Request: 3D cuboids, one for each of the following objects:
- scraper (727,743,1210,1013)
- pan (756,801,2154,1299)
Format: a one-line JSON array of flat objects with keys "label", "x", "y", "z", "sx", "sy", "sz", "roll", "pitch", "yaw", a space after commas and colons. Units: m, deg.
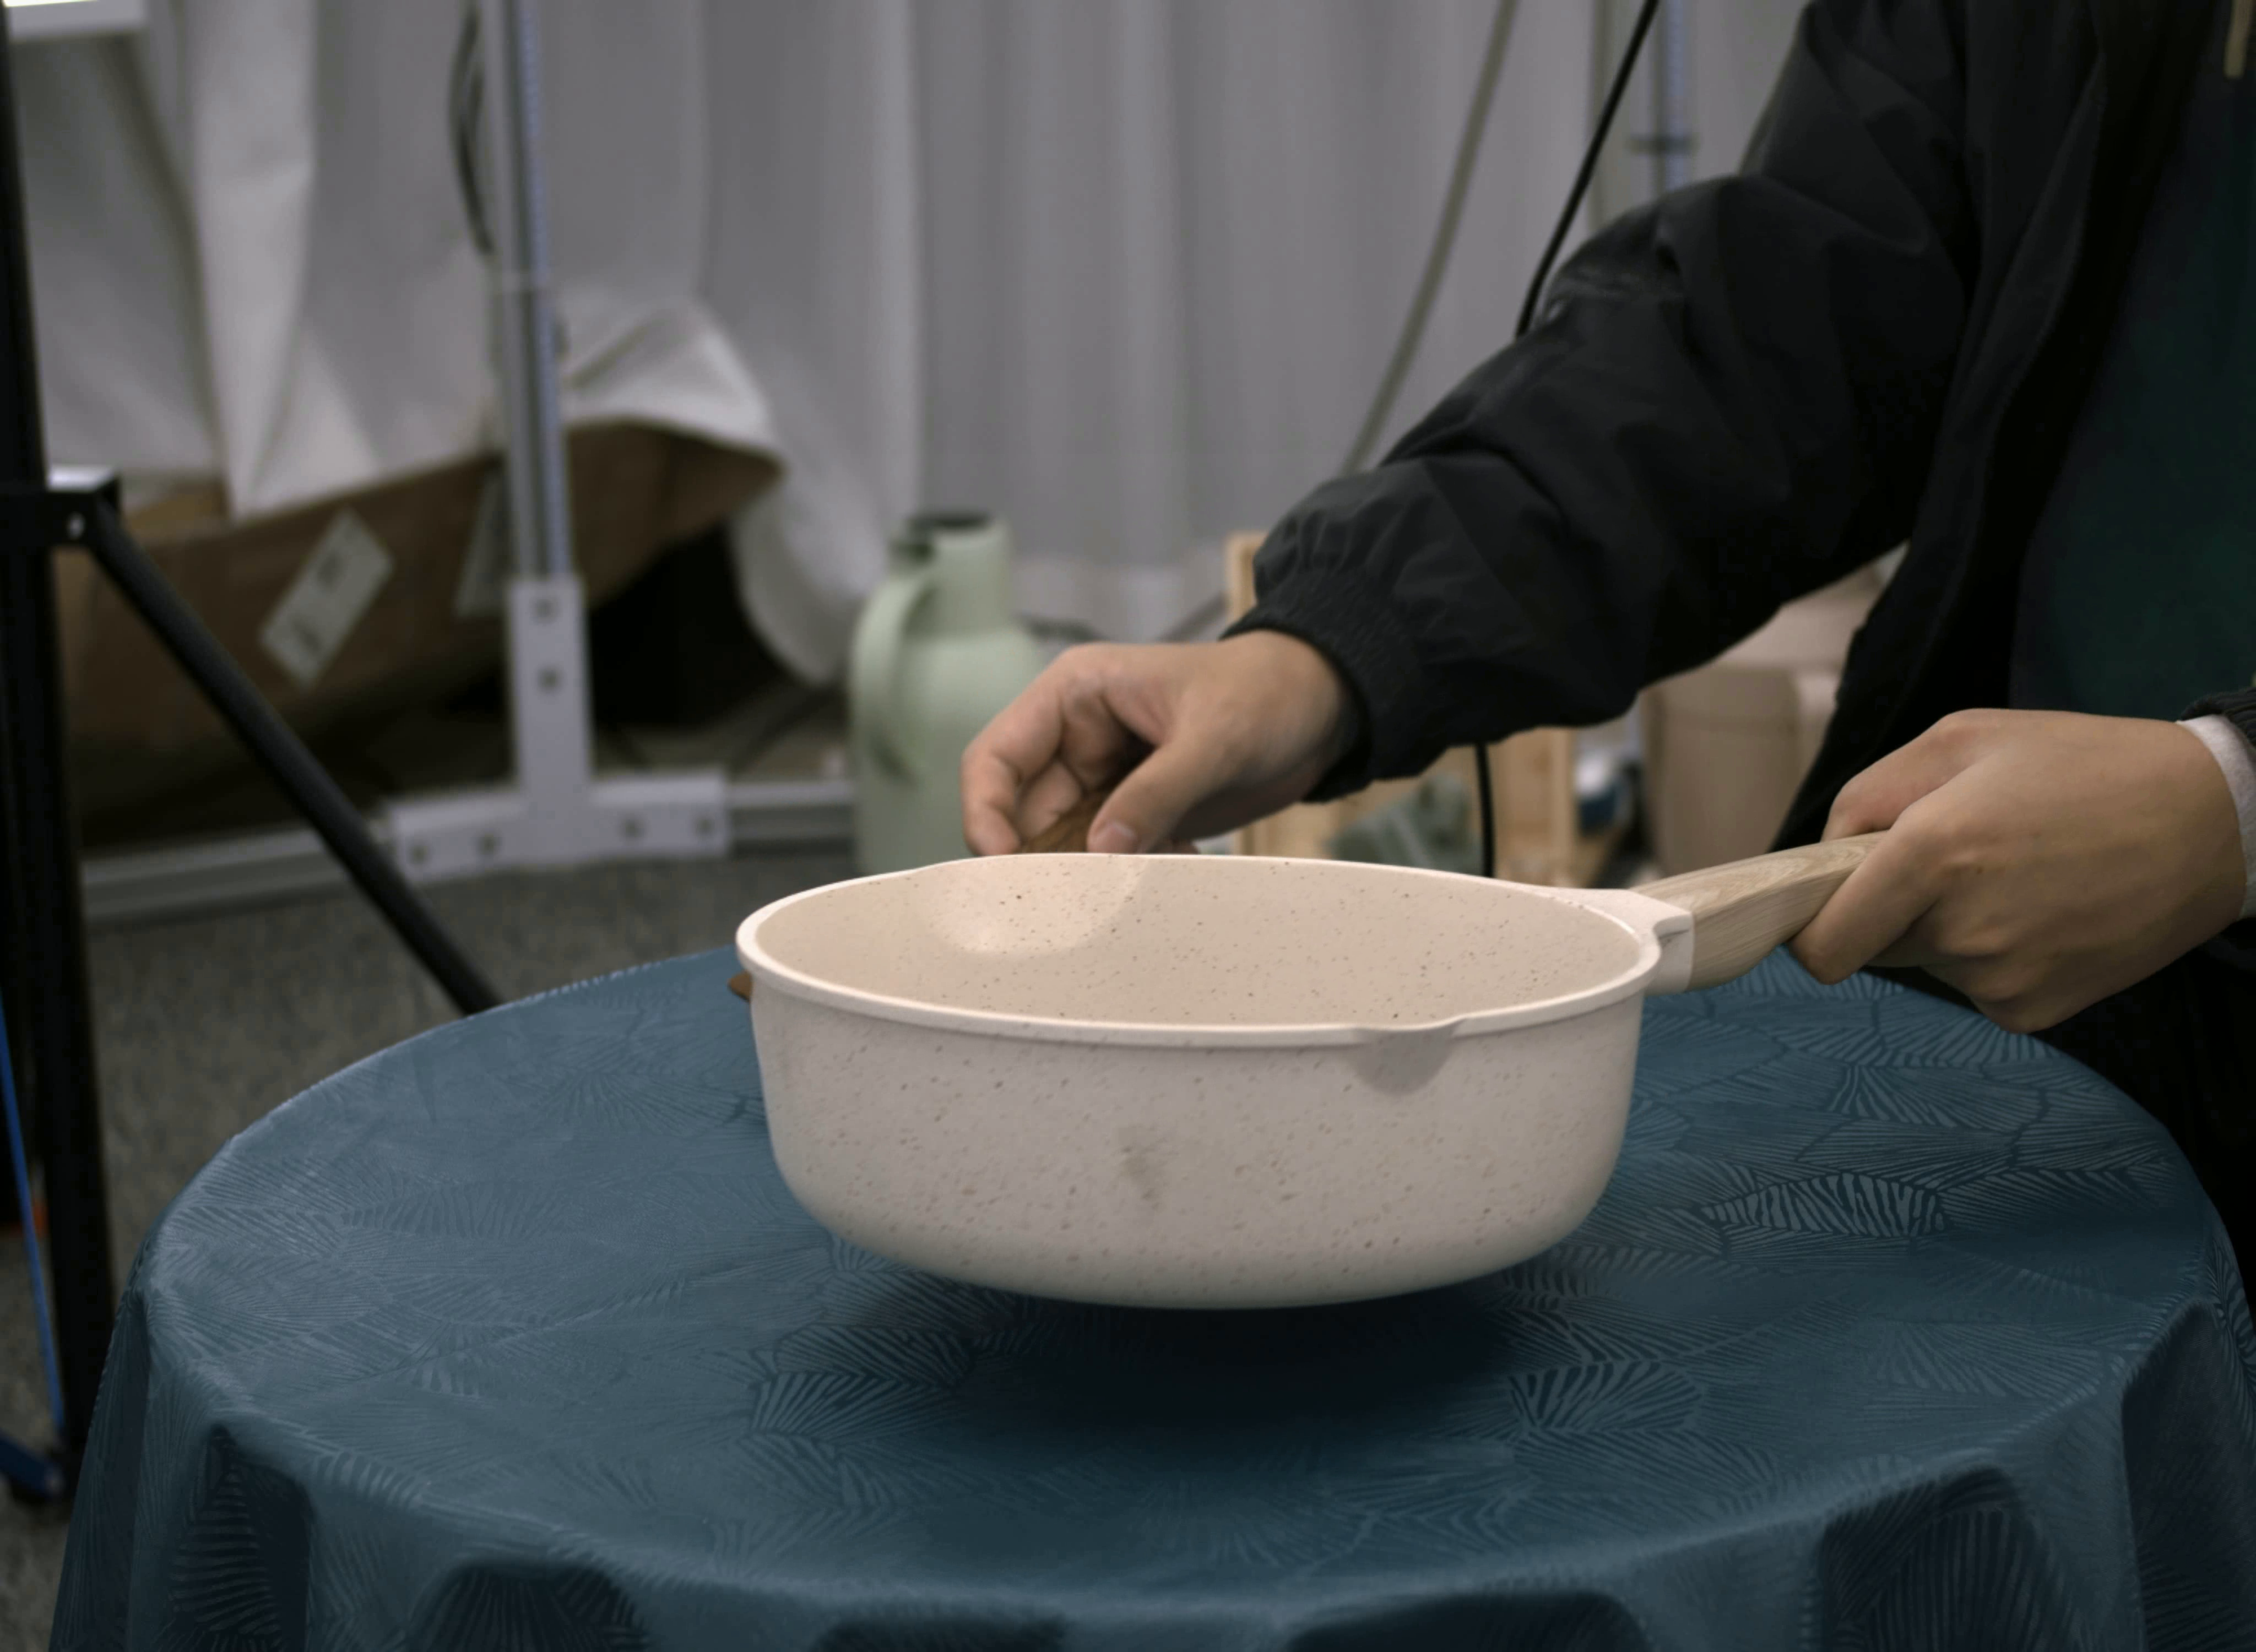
[{"label": "scraper", "x": -0.040, "y": 0.018, "z": 1.707, "sx": 0.077, "sy": 0.011, "sz": 0.208, "roll": 18, "pitch": 35, "yaw": 31}, {"label": "pan", "x": 0.107, "y": 0.056, "z": 1.475, "sx": 0.425, "sy": 0.102, "sz": 0.268, "roll": -3, "pitch": 8, "yaw": -24}]
